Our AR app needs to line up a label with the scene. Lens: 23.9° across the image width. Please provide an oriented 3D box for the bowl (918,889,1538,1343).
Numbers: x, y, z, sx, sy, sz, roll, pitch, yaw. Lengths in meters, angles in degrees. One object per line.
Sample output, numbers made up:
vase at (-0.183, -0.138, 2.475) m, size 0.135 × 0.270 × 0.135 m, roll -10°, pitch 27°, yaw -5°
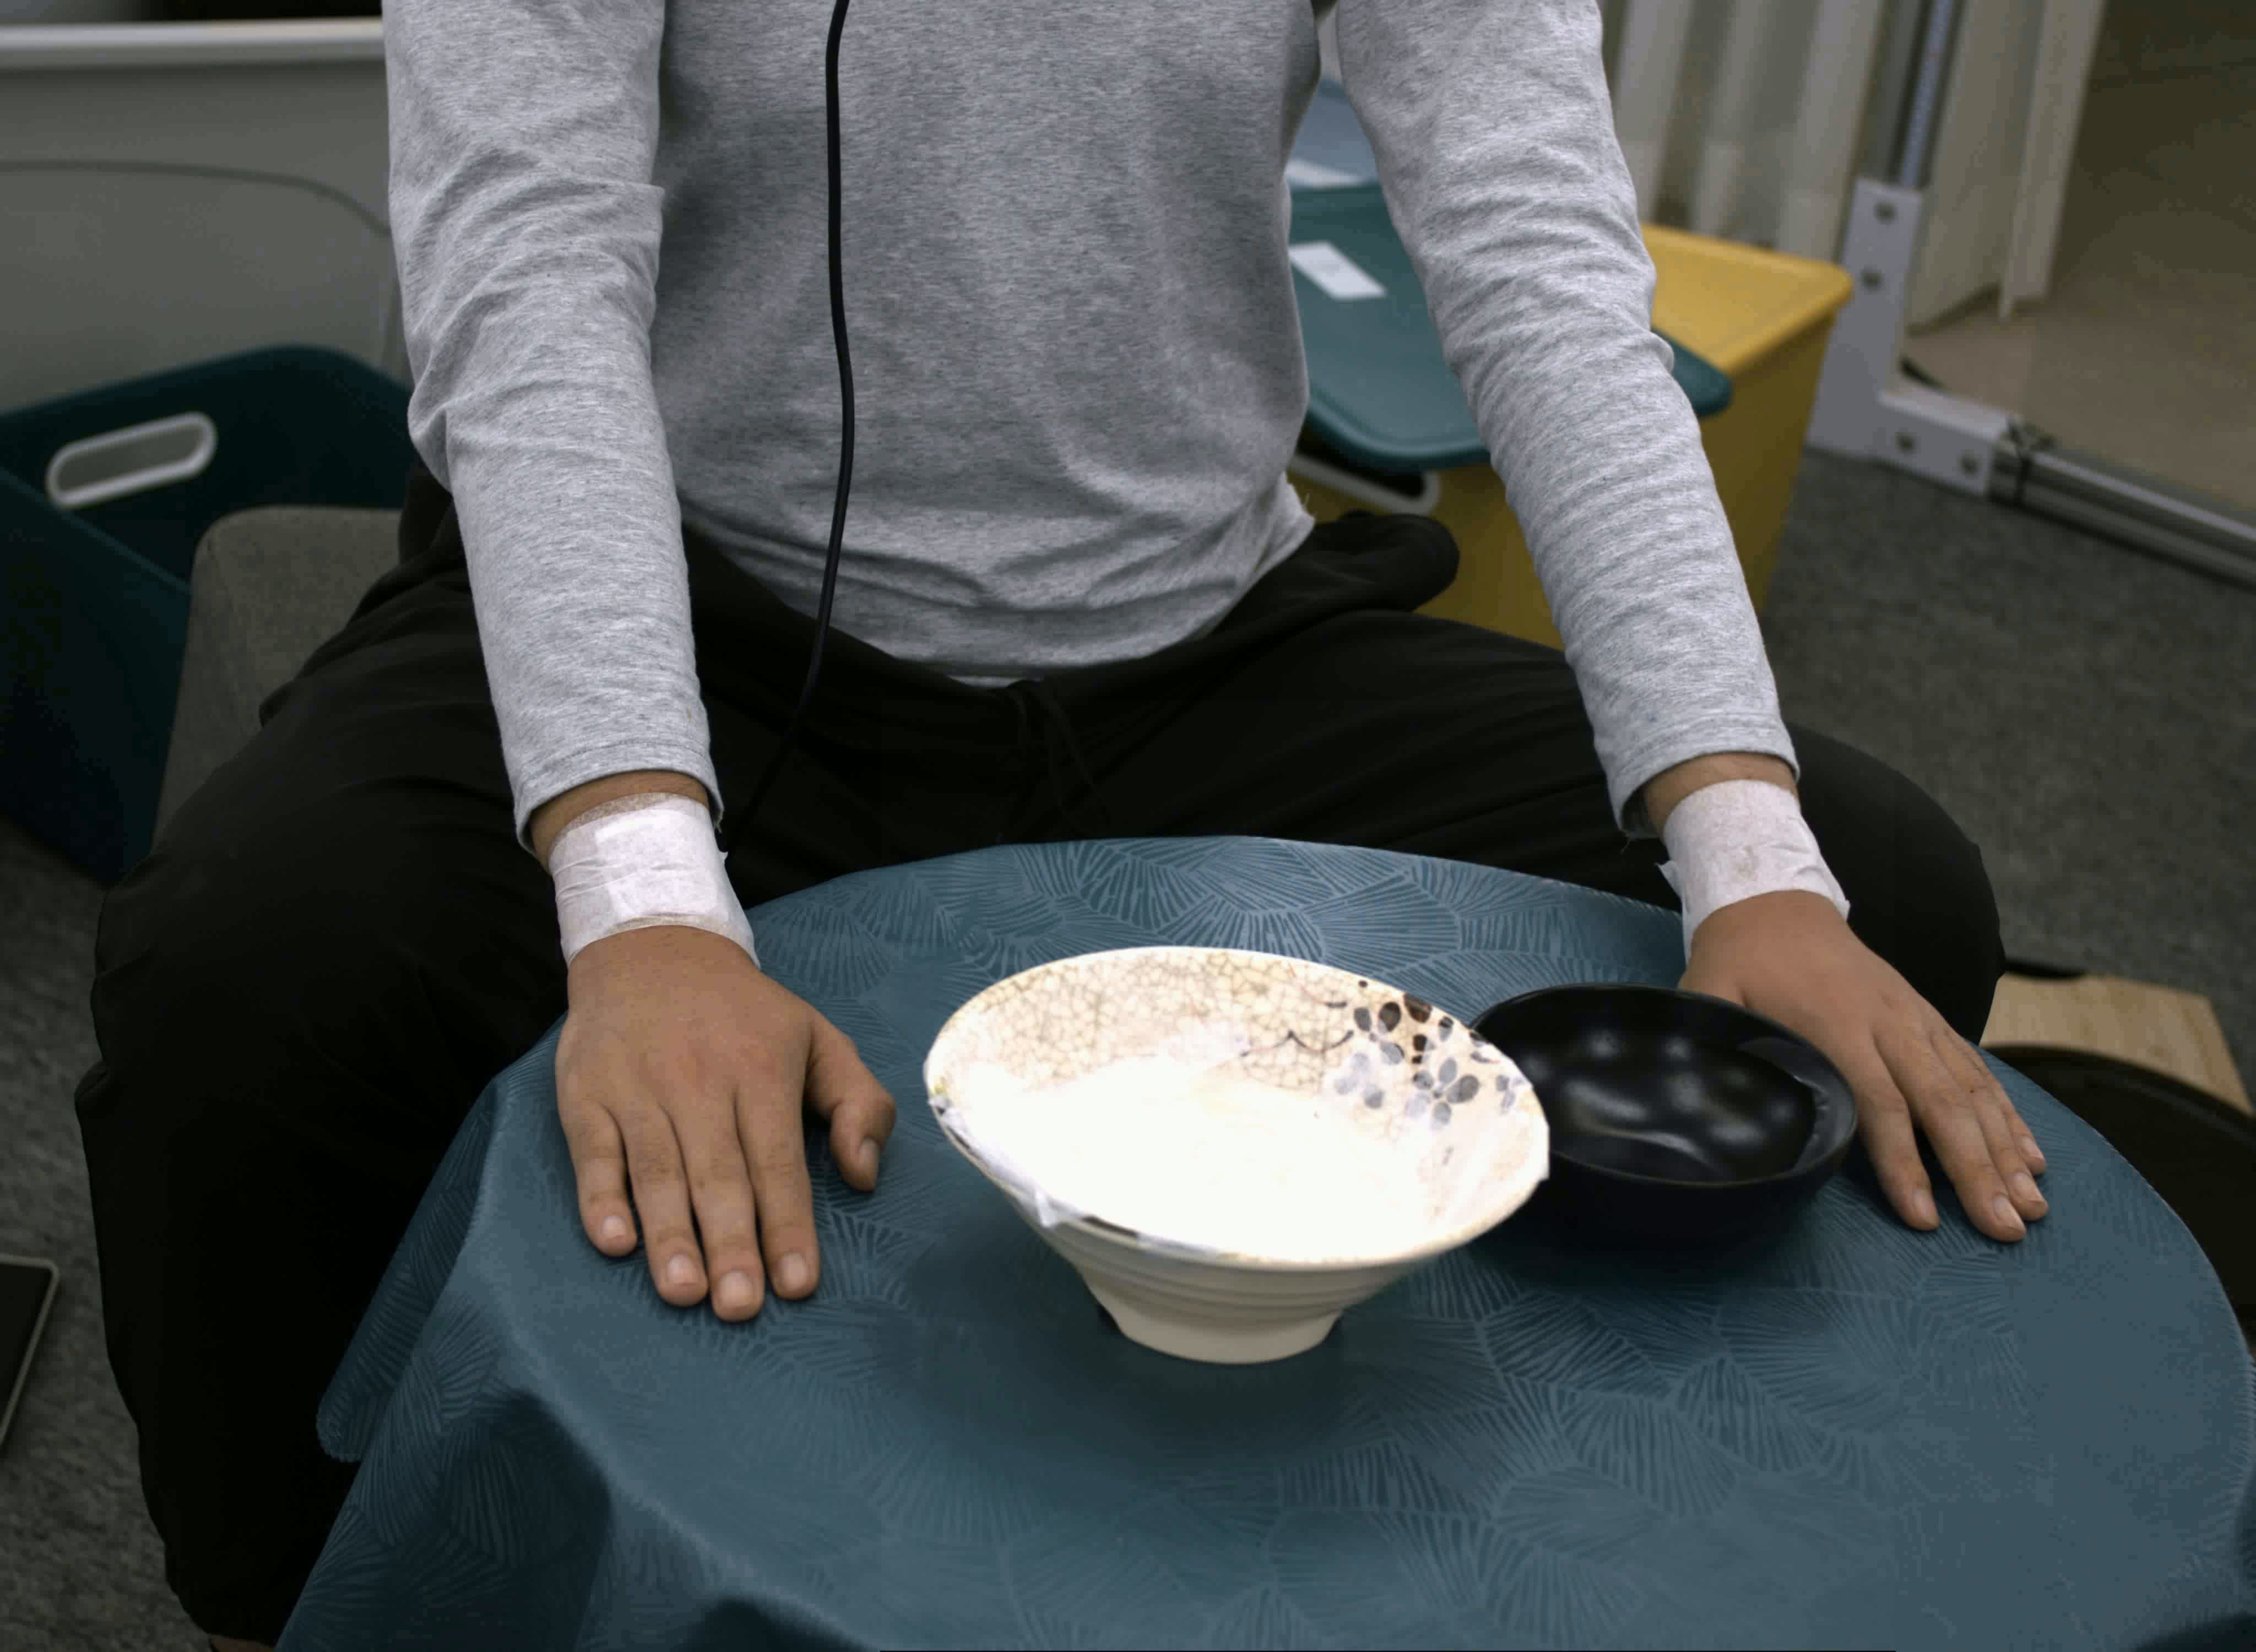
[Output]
bowl at (0.026, 0.110, 1.724) m, size 0.203 × 0.077 × 0.205 m, roll 9°, pitch 33°, yaw -6°

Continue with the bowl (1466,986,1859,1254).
bowl at (0.178, 0.108, 1.823) m, size 0.139 × 0.049 × 0.141 m, roll 7°, pitch 24°, yaw -3°
